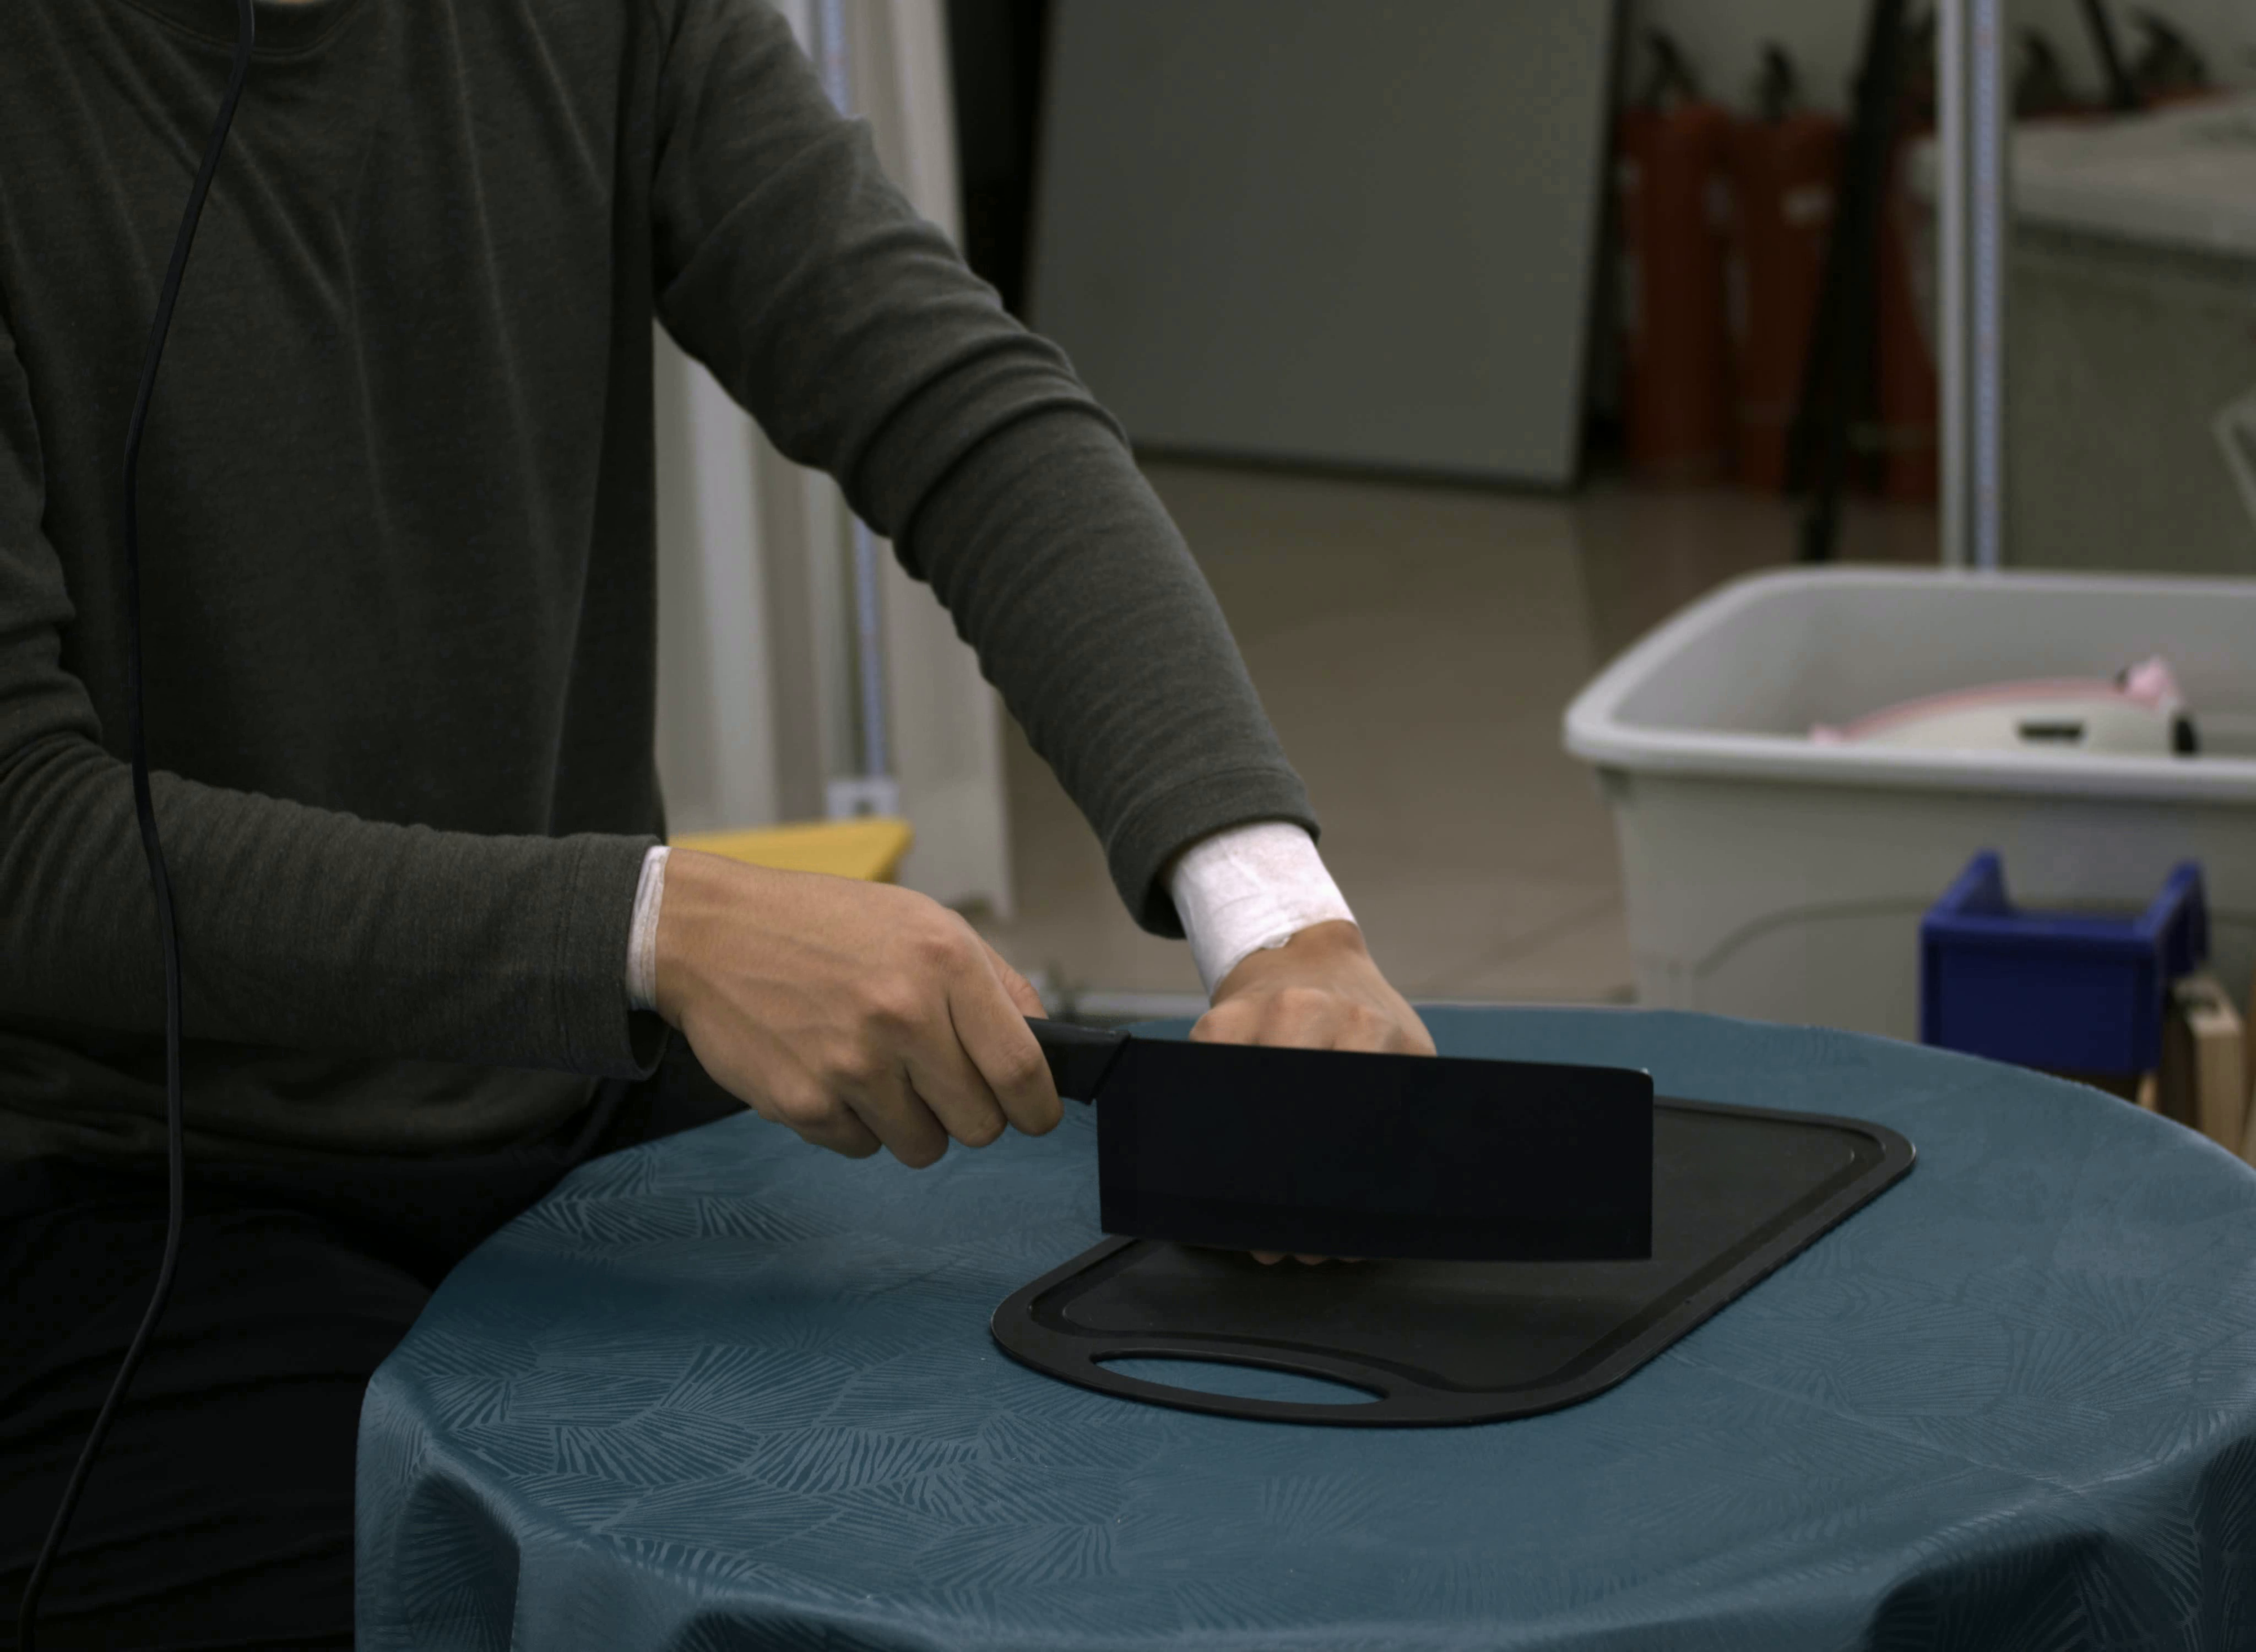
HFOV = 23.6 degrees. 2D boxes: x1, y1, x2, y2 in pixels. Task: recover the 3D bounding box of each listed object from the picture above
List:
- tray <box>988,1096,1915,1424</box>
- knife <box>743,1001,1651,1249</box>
[{"bbox_3d":[0.103,0.130,1.693,0.212,0.010,0.320,4,16,33],"label":"tray"},{"bbox_3d":[0.019,0.091,1.676,0.302,0.082,0.020,7,11,21],"label":"knife"}]
